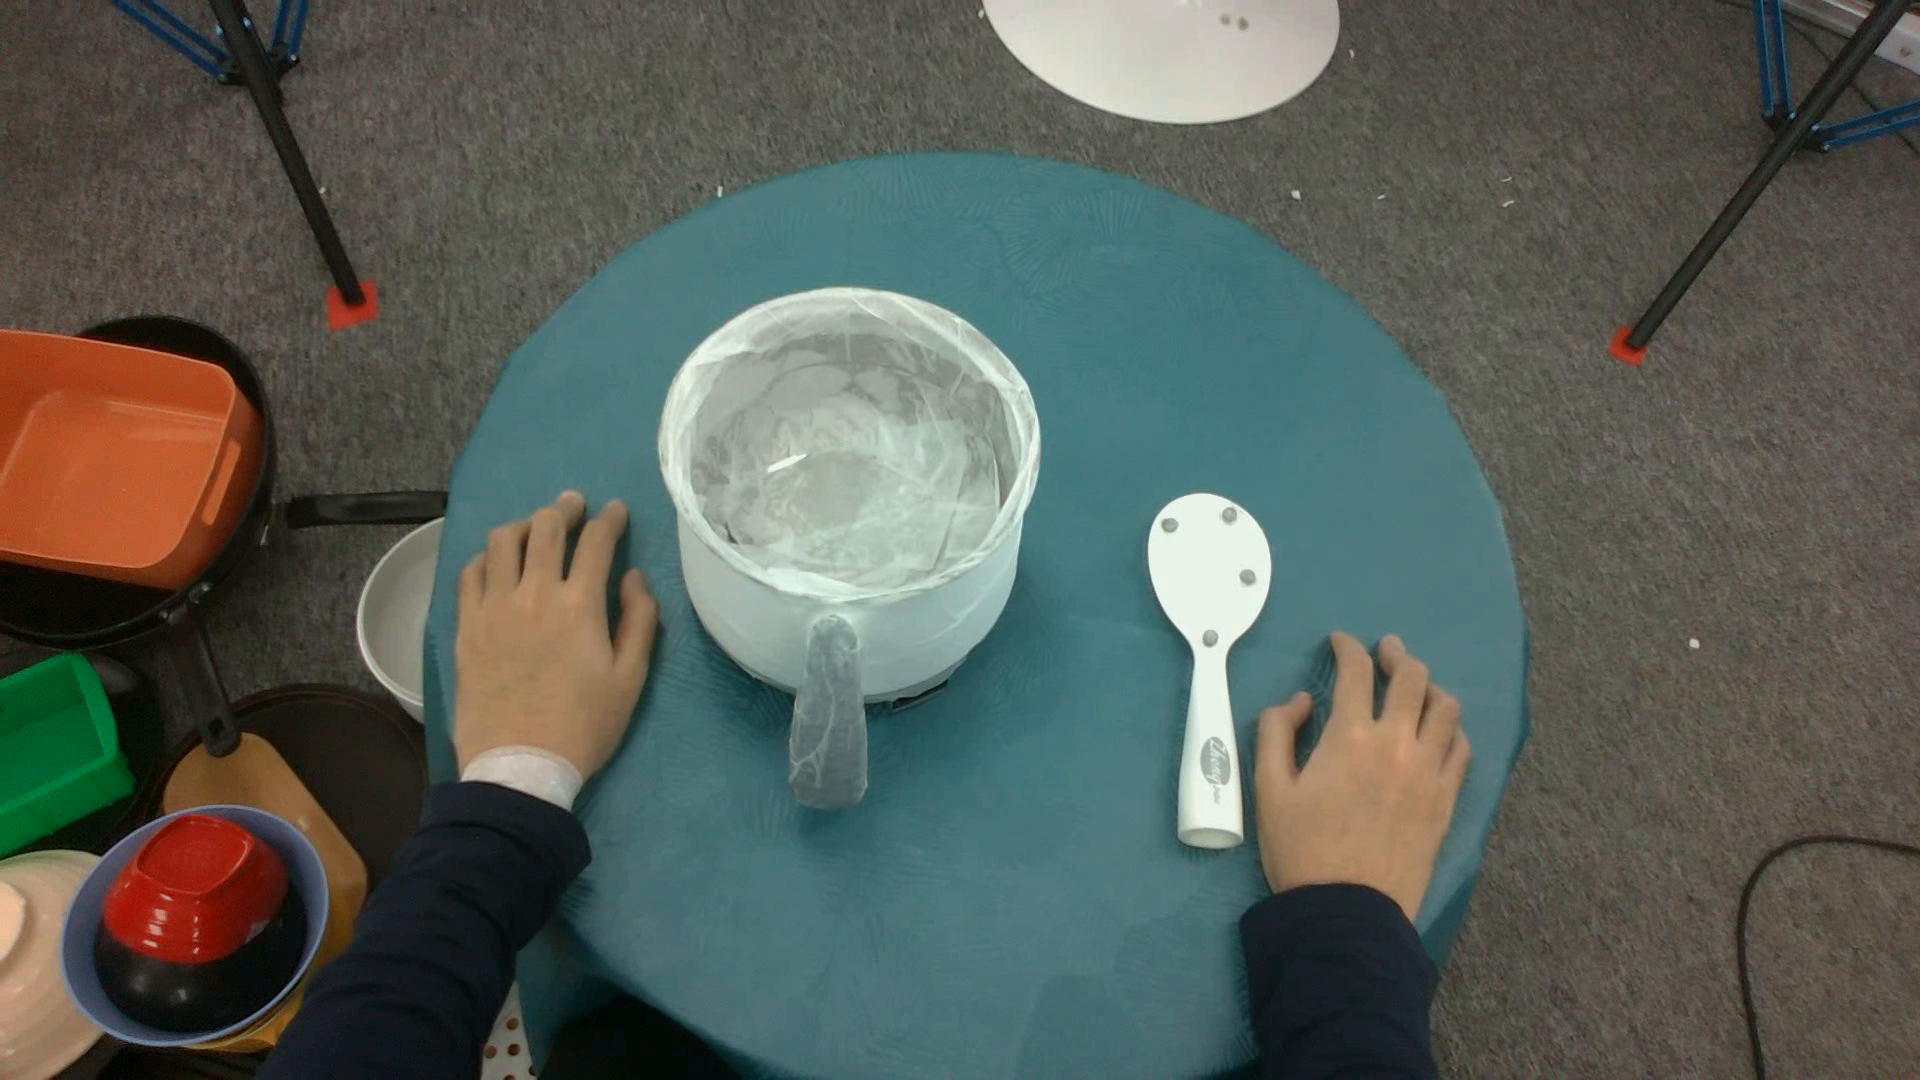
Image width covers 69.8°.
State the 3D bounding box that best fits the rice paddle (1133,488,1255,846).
[{"bbox_3d":[0.125,0.058,0.729,0.069,0.029,0.206,7,60,-4],"label":"rice paddle"}]

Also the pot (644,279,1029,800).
[{"bbox_3d":[-0.060,0.002,0.678,0.179,0.136,0.234,2,58,-2],"label":"pot"}]
